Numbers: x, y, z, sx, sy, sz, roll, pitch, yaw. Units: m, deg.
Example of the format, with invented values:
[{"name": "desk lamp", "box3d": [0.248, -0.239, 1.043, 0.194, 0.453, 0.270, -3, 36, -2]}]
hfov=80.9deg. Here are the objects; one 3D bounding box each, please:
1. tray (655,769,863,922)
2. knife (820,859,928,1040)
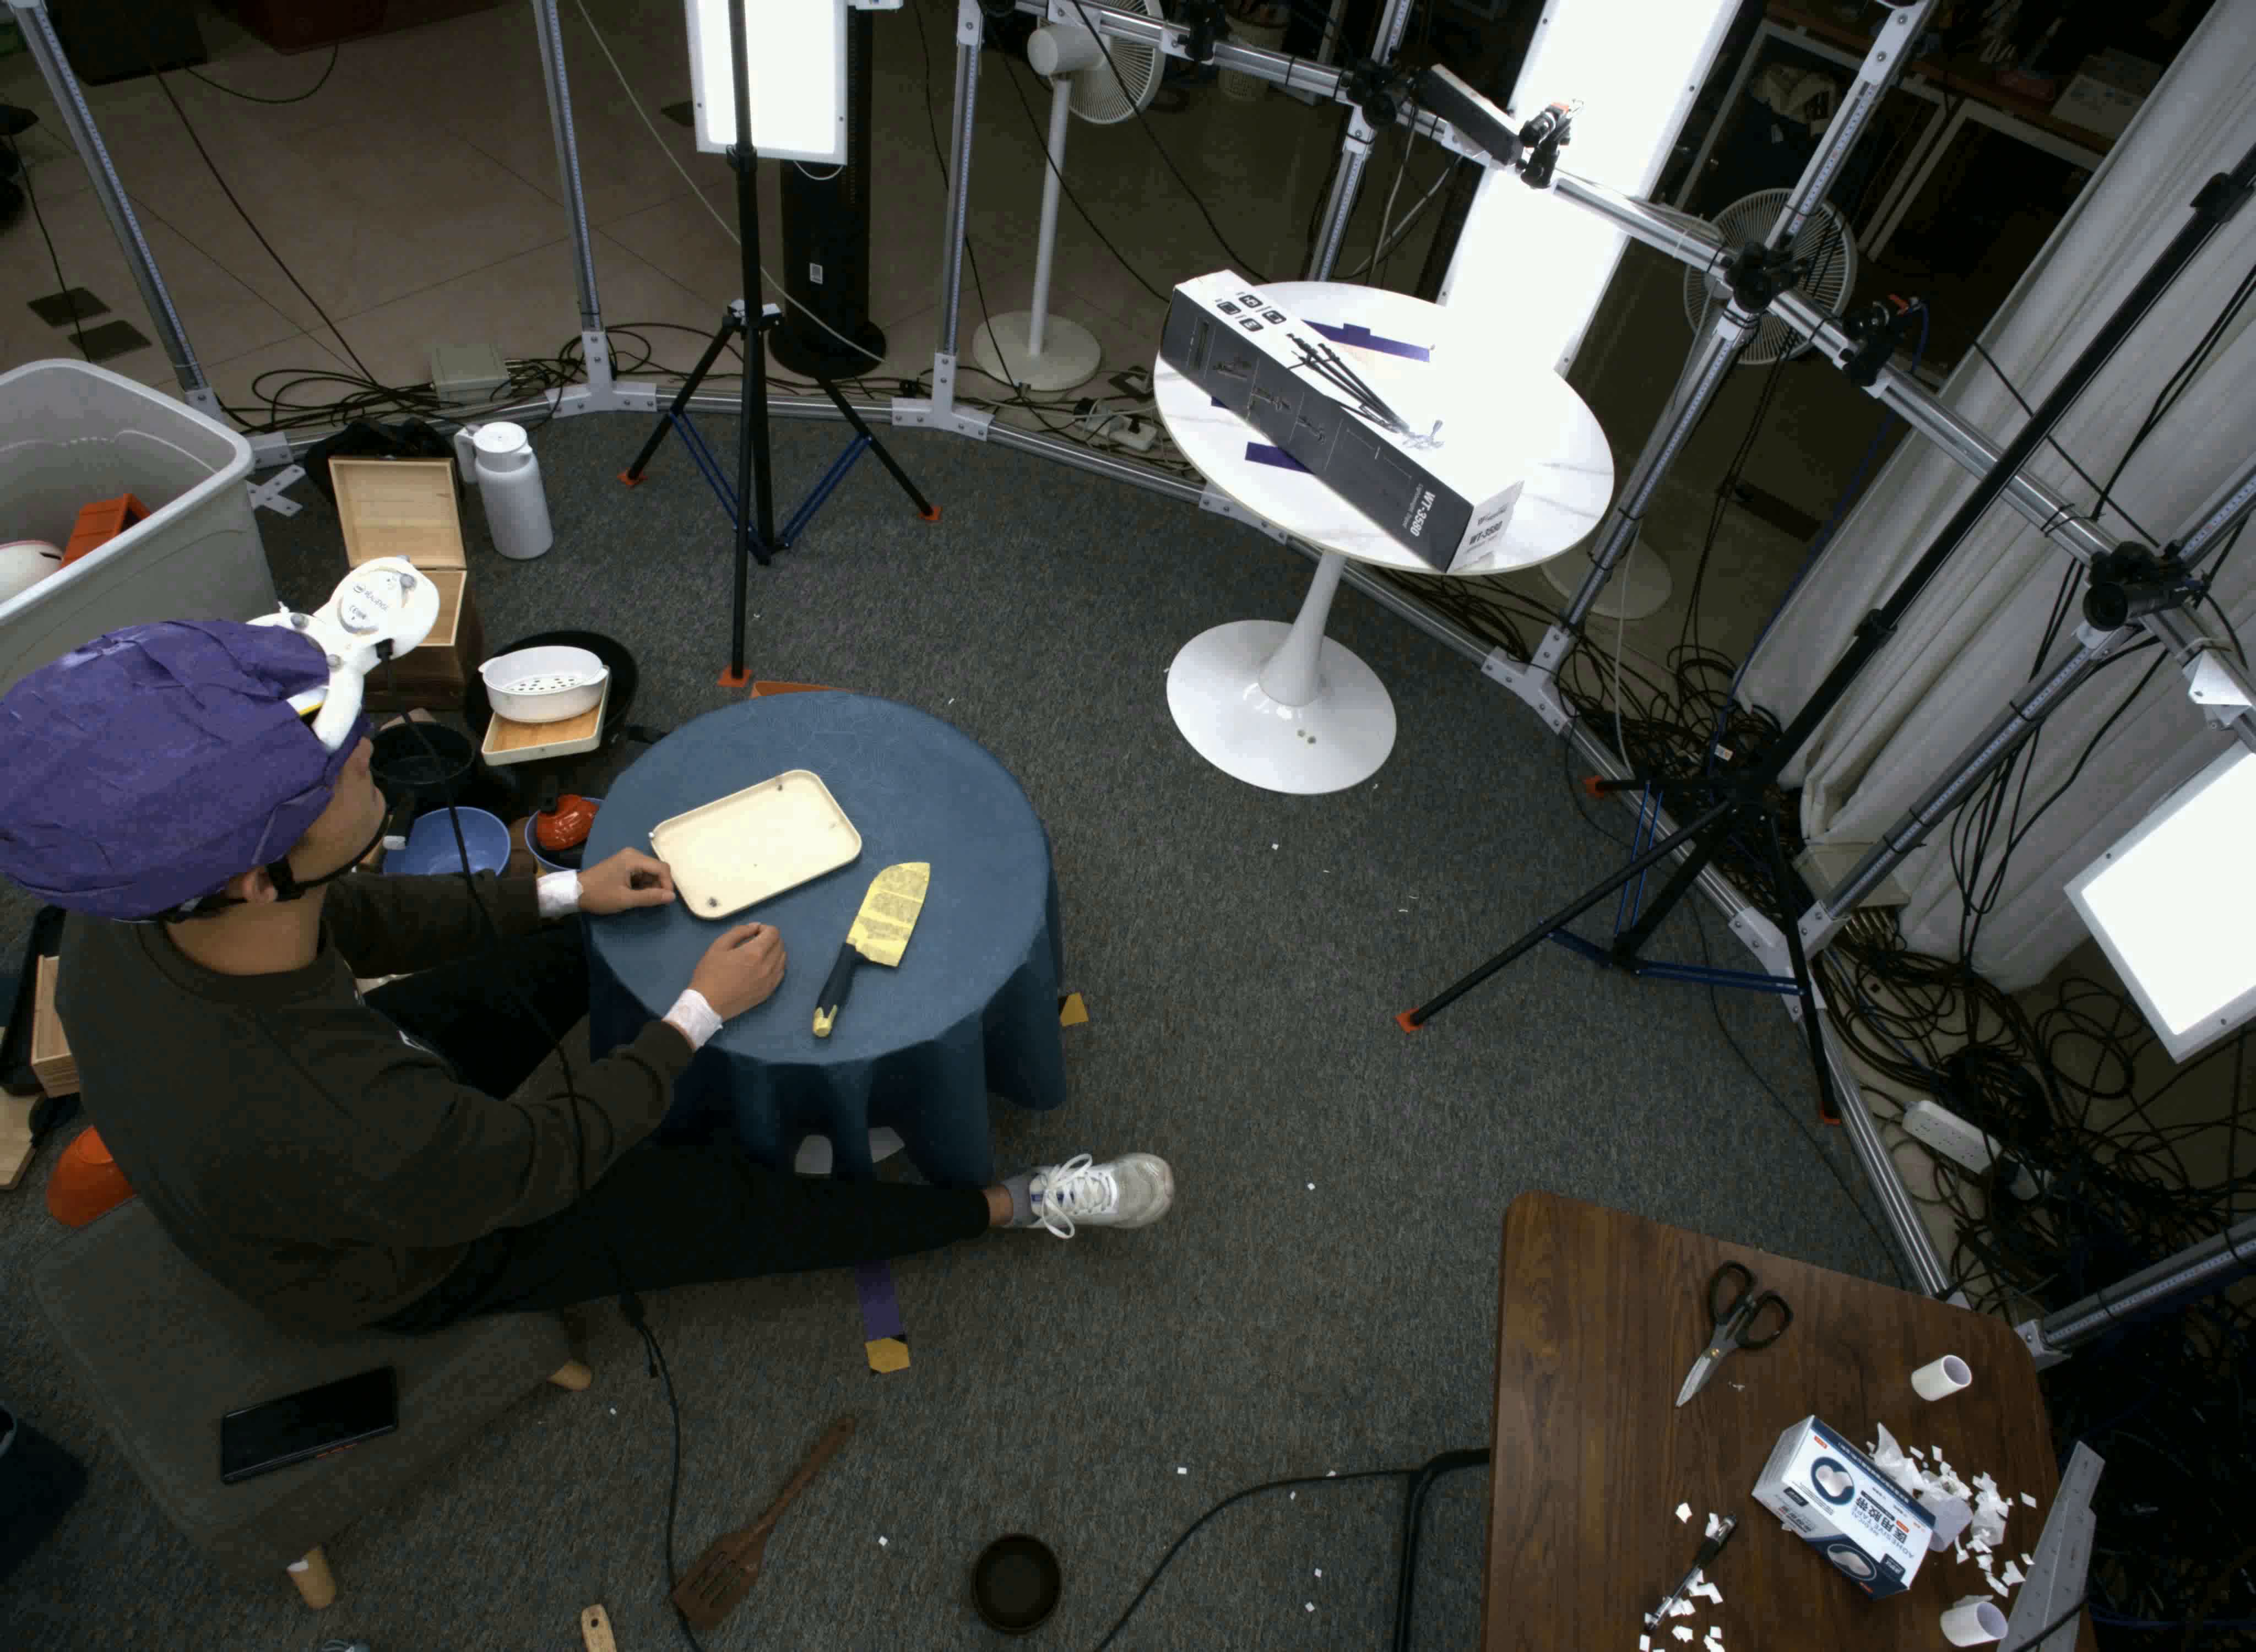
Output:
[{"name": "tray", "box3d": [-0.482, 0.022, 1.692, 0.241, 0.018, 0.167, -26, 65, -29]}, {"name": "knife", "box3d": [-0.319, 0.148, 1.643, 0.080, 0.028, 0.286, 18, 51, 1]}]
